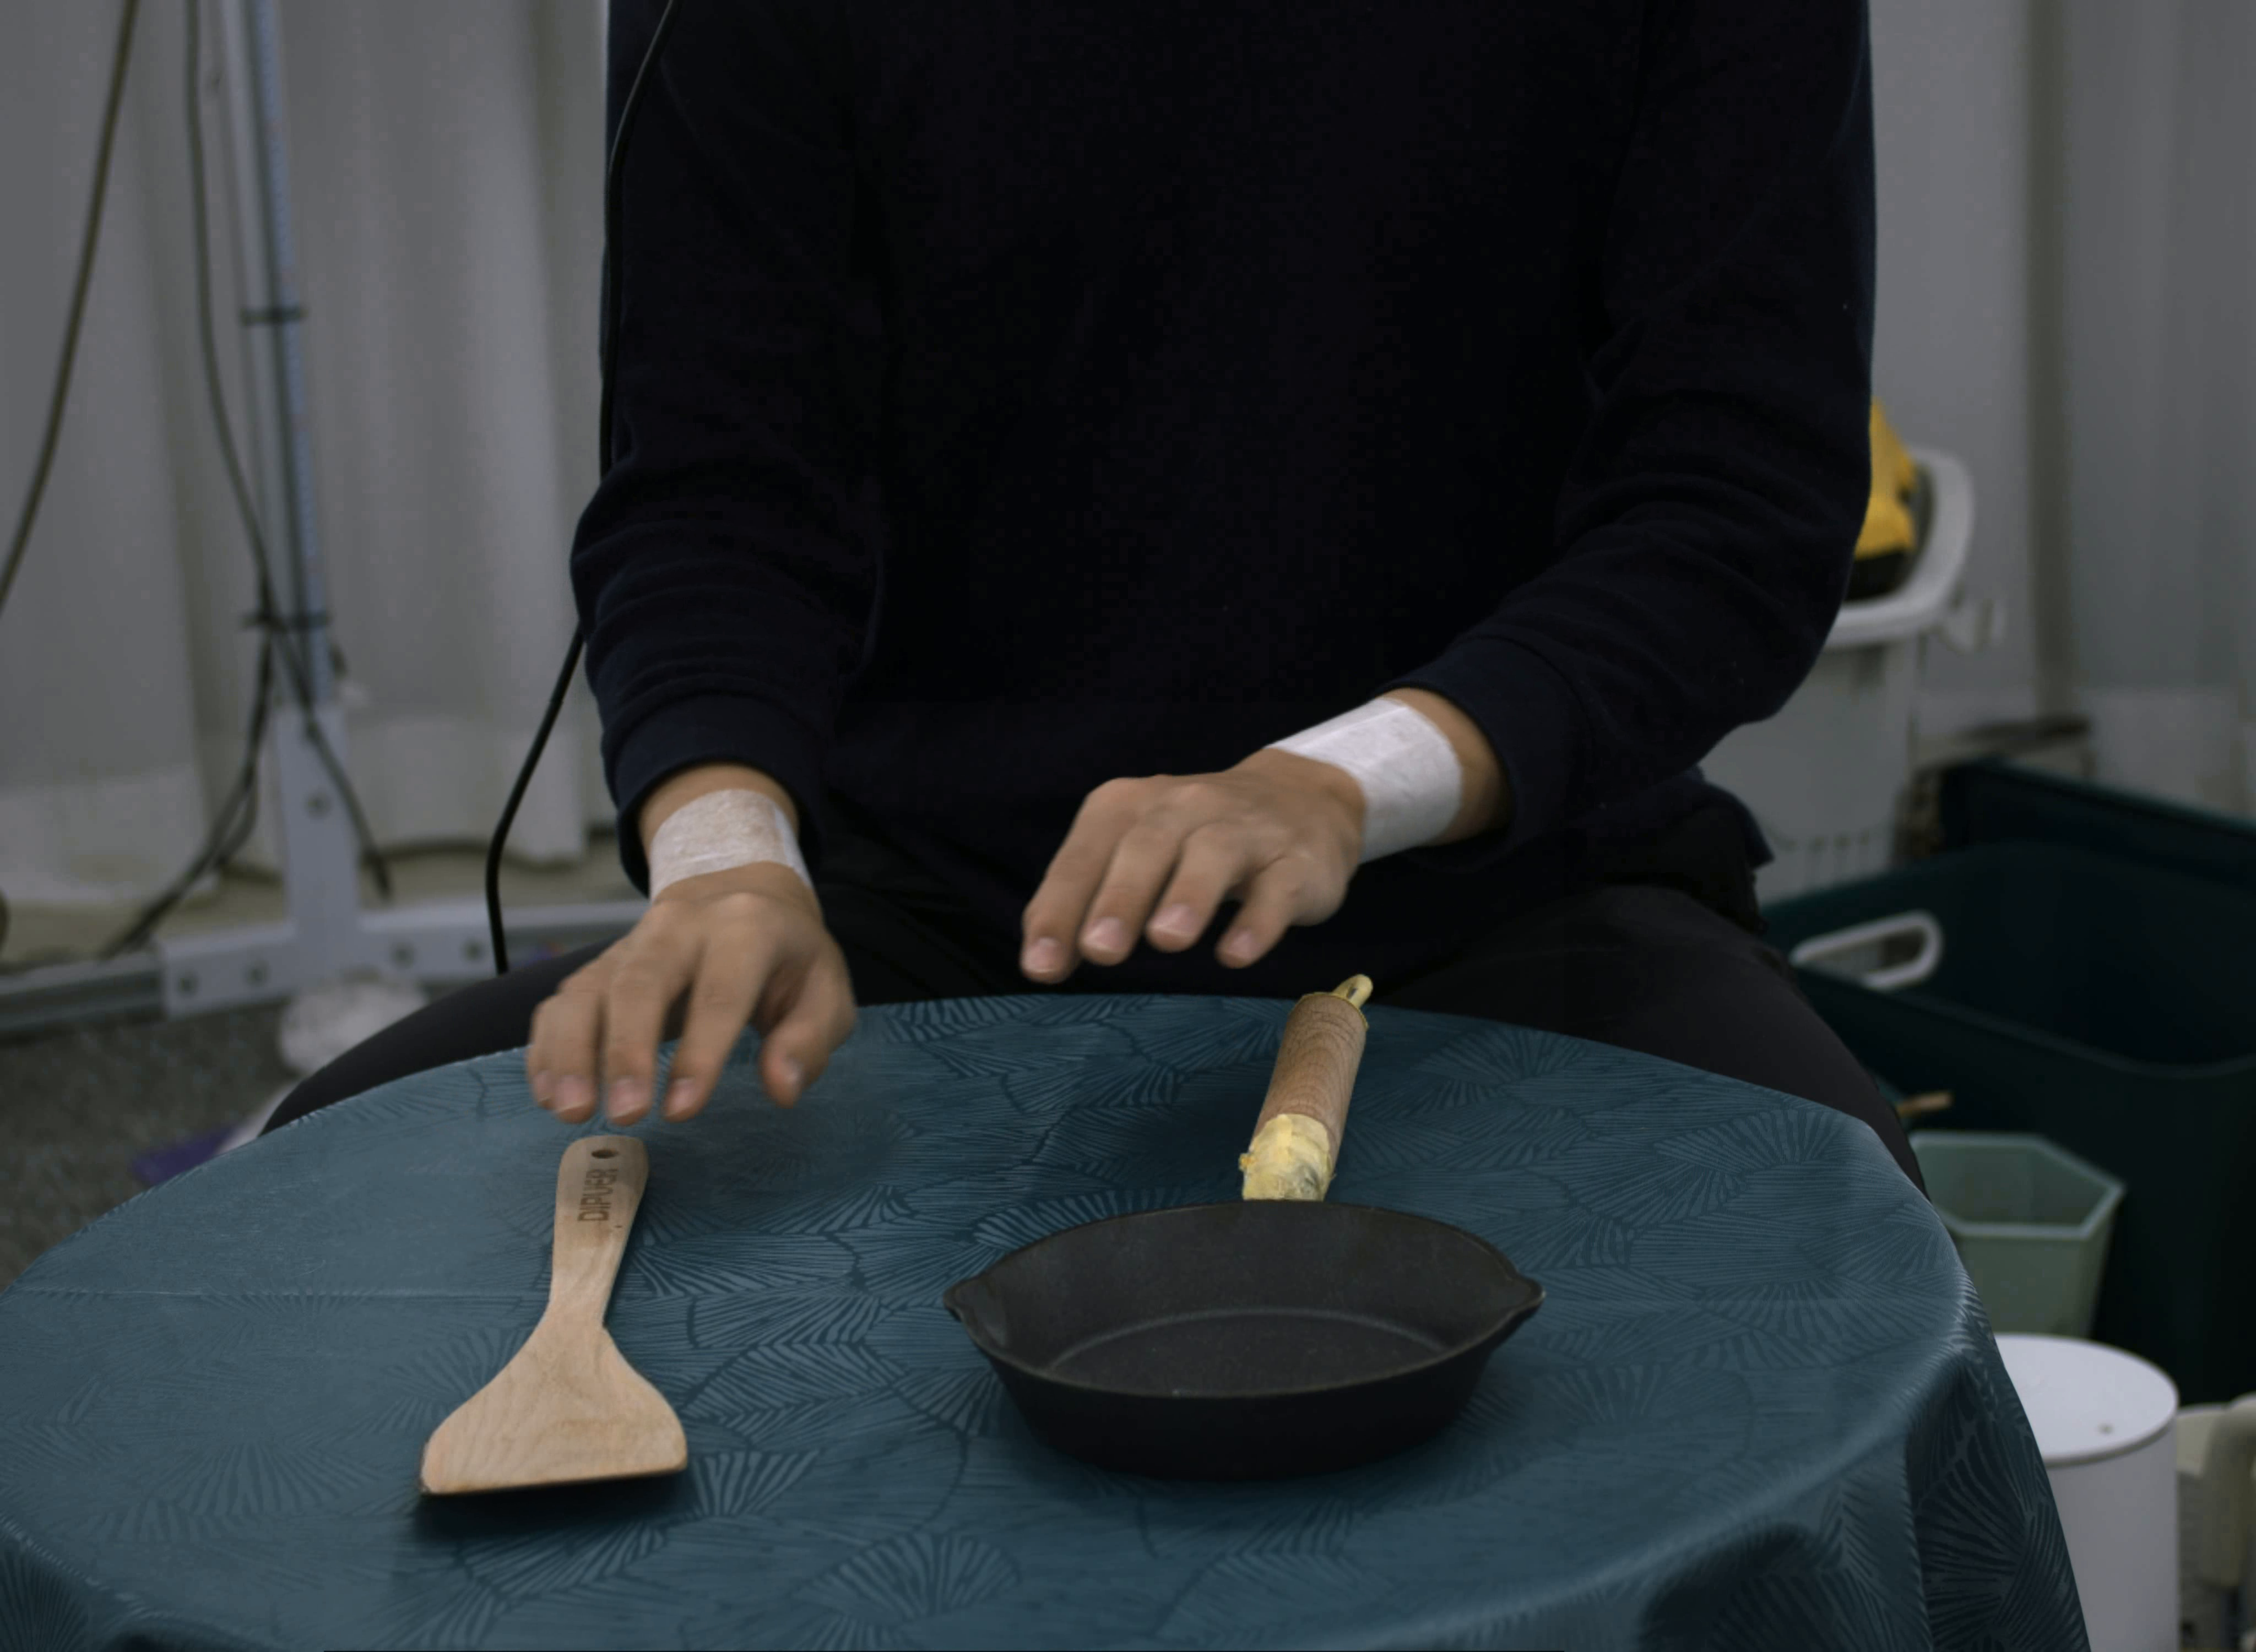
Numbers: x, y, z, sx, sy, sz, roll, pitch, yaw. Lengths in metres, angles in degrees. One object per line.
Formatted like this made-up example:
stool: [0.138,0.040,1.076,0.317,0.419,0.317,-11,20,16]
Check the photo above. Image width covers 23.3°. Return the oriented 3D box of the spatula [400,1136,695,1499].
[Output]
spatula: [-0.162,0.141,1.616,0.079,0.016,0.330,-2,15,-2]

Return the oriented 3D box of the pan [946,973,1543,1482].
pan: [0.046,0.115,1.609,0.168,0.049,0.326,0,17,10]
